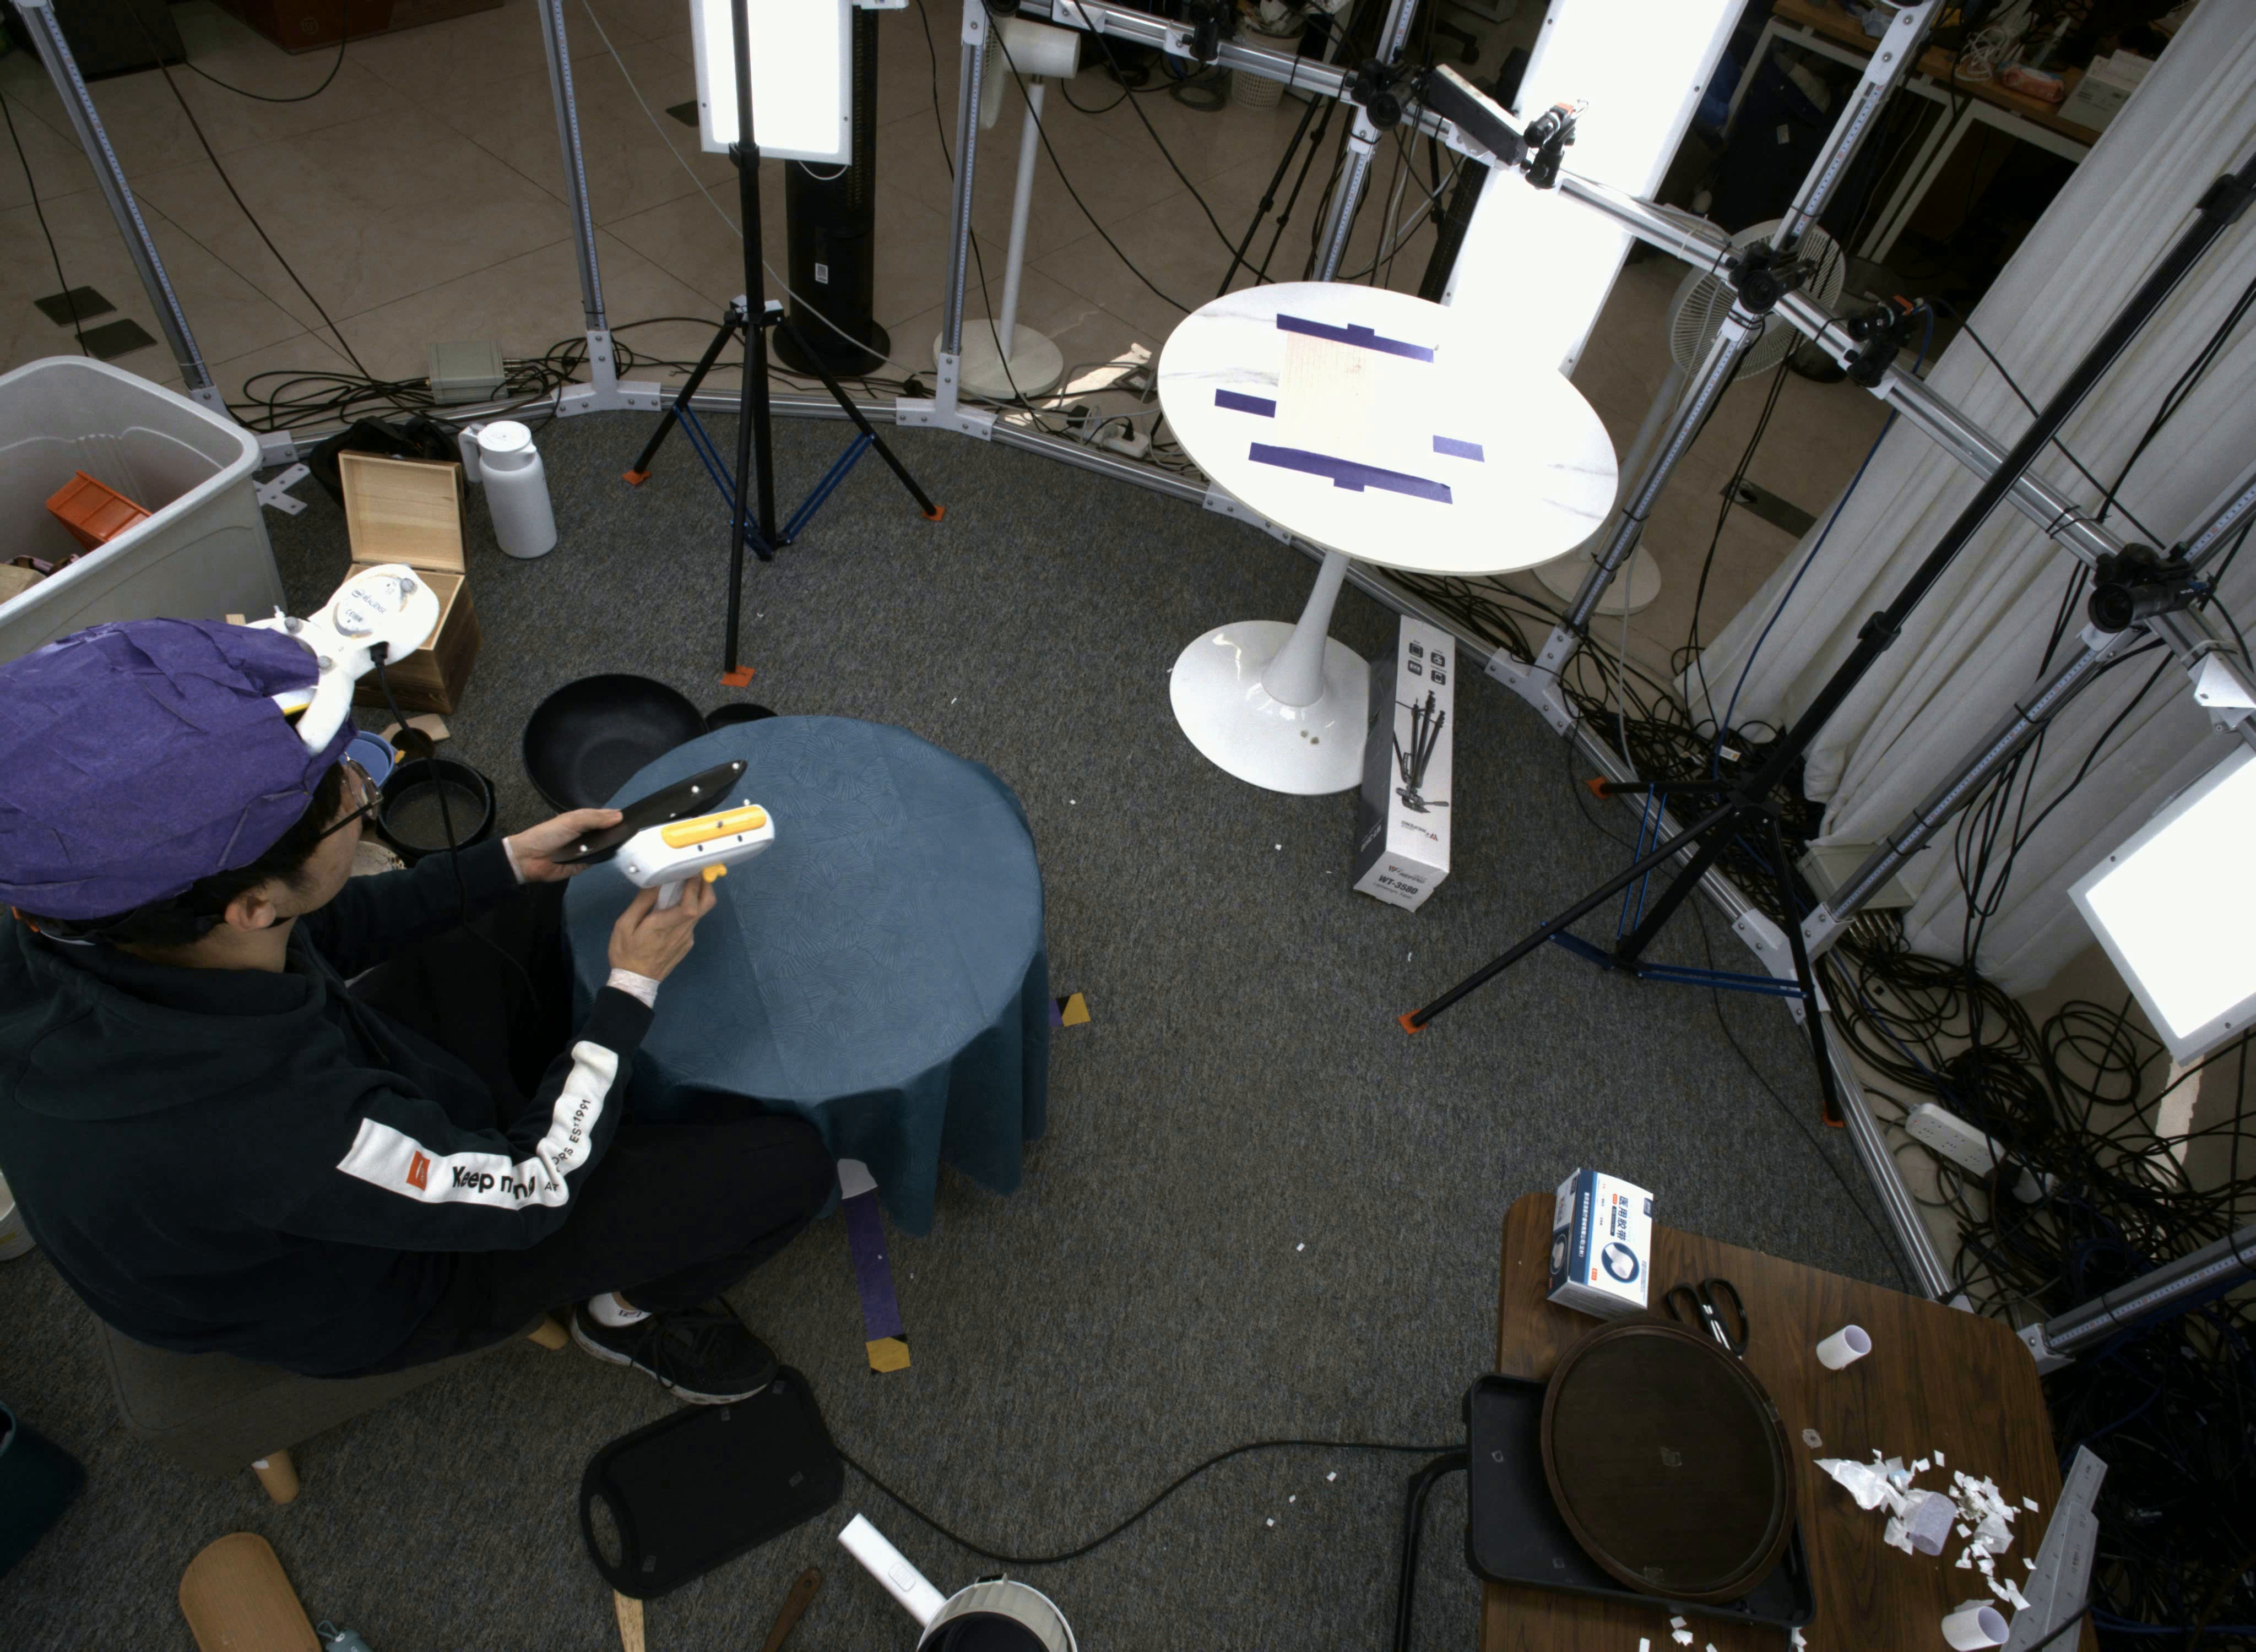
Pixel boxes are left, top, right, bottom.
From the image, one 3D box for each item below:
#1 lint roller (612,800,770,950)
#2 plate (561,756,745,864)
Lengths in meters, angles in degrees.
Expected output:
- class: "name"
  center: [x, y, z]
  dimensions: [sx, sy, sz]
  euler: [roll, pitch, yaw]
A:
- class: "lint roller"
  center: [-0.493, 0.057, 1.405]
  dimensions: [0.074, 0.192, 0.194]
  euler: [49, 32, 6]
- class: "plate"
  center: [-0.543, -0.014, 1.467]
  dimensions: [0.241, 0.024, 0.240]
  euler: [-21, 17, 9]
